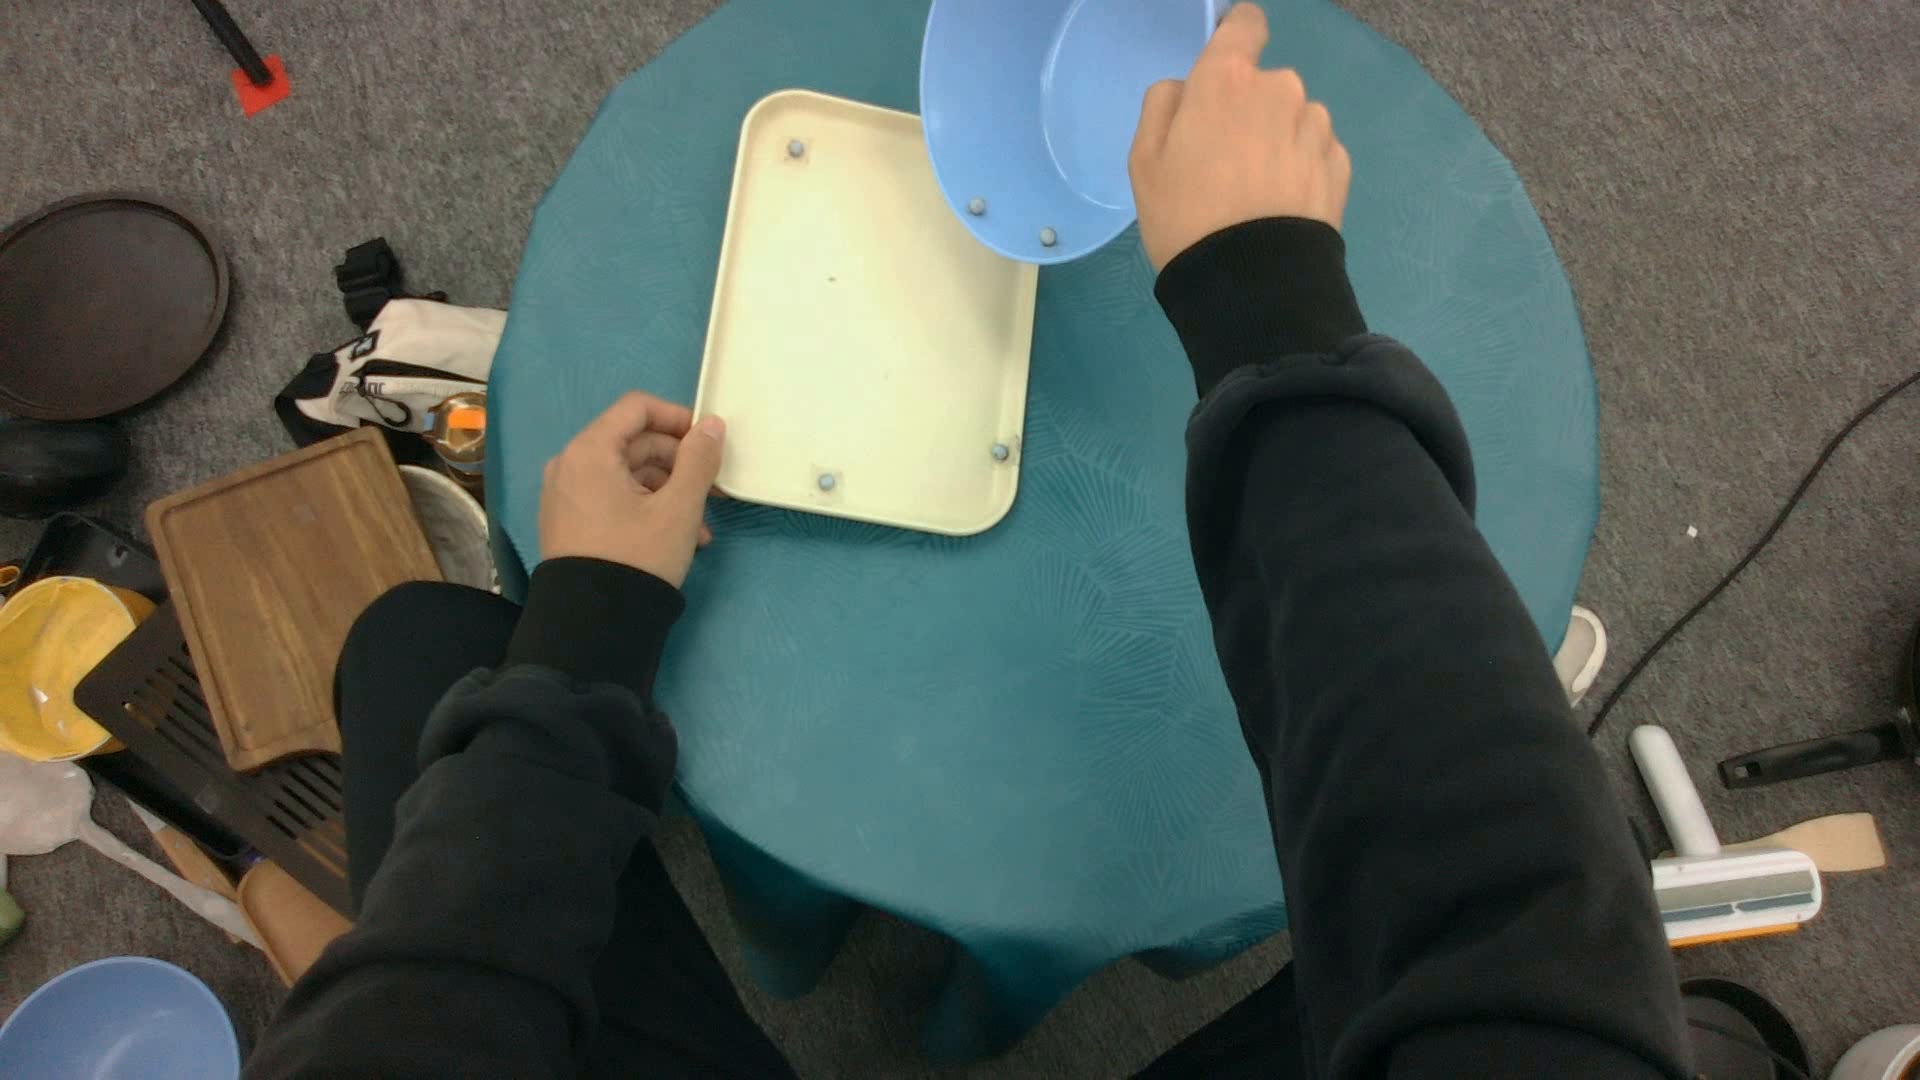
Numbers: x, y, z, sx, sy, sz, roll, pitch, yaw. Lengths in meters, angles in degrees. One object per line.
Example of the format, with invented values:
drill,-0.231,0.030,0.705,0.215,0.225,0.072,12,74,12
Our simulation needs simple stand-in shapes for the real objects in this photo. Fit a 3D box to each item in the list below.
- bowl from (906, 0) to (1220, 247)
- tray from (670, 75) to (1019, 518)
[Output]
bowl,0.056,-0.227,0.651,0.070,0.175,0.176,-9,69,-44
tray,-0.055,-0.131,0.735,0.171,0.017,0.240,9,72,-10
